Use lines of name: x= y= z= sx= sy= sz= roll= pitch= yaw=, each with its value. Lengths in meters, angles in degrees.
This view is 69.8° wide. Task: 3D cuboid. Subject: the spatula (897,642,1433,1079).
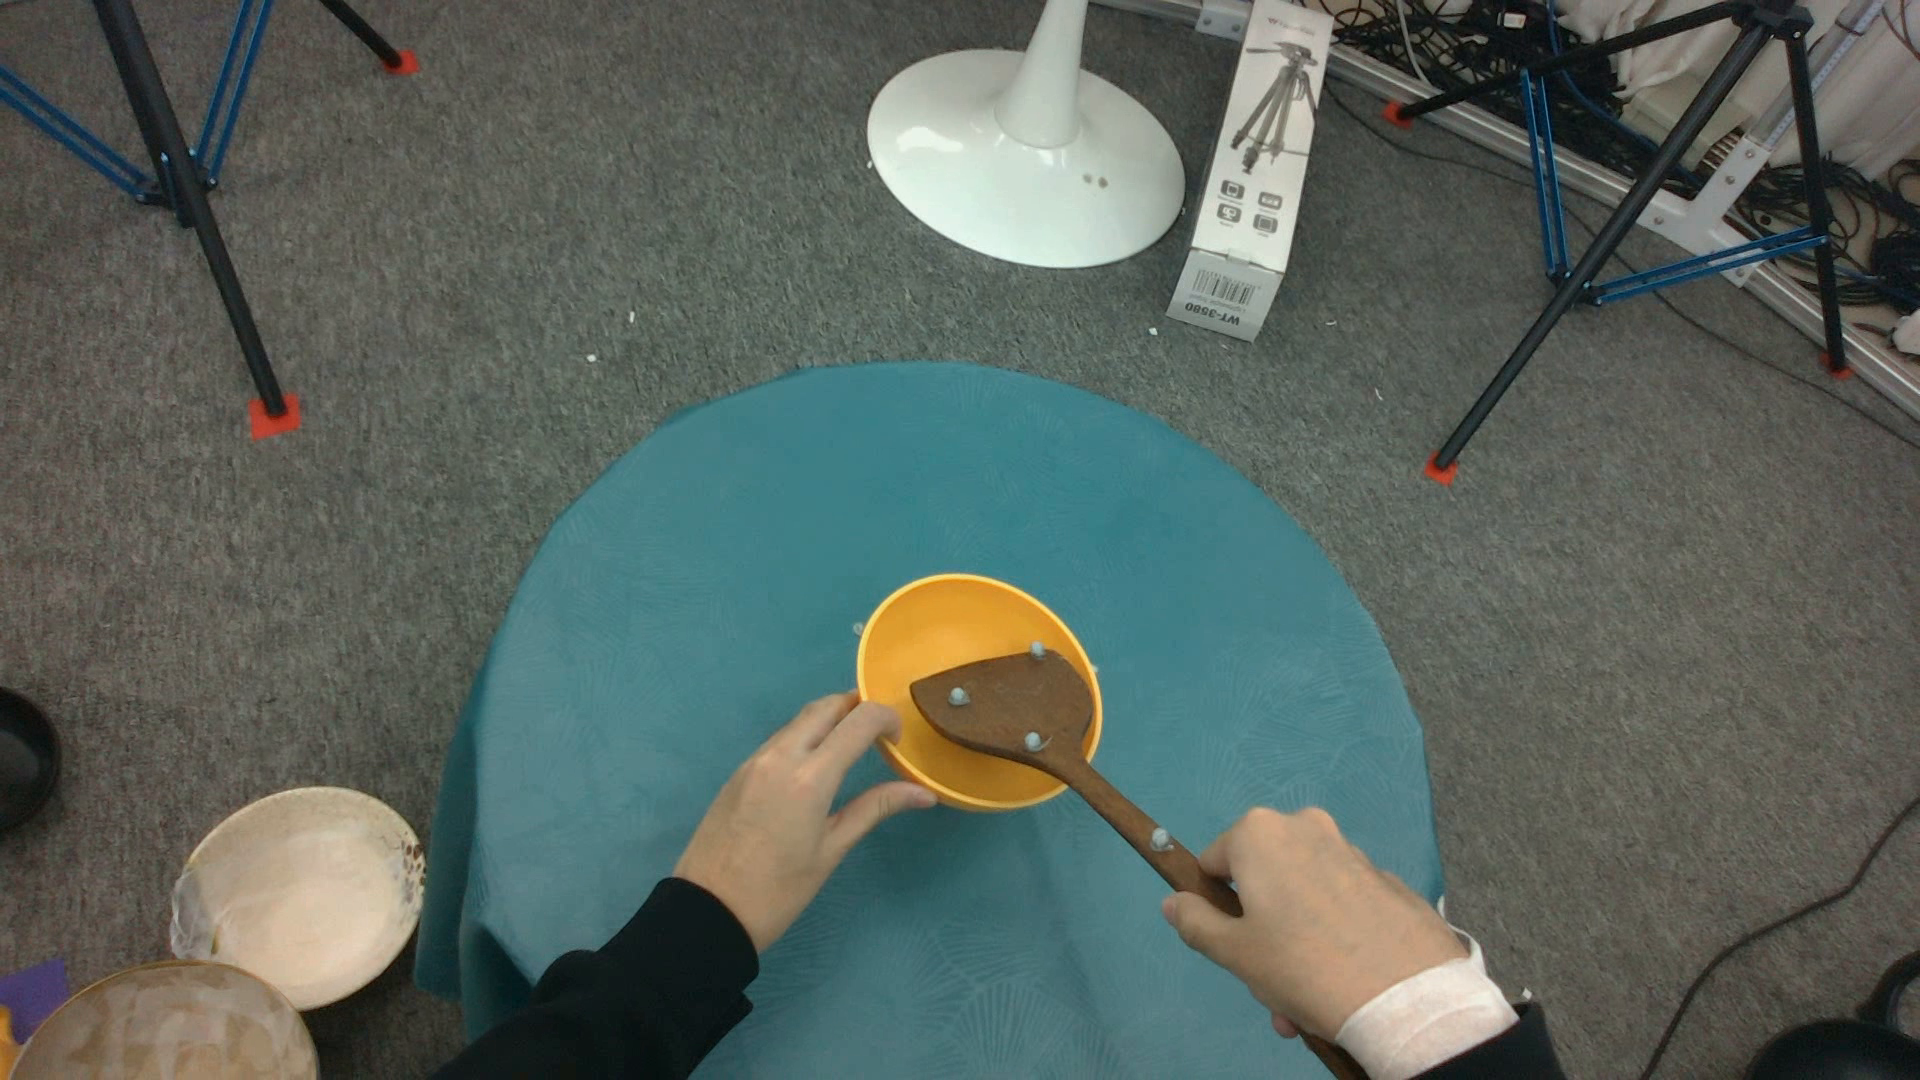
spatula: x=0.077 y=0.127 z=0.621 sx=0.096 sy=0.016 sz=0.386 roll=-11 pitch=22 yaw=-21

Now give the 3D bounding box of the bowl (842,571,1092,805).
bowl: x=-0.003 y=0.092 z=0.779 sx=0.145 sy=0.060 sz=0.146 roll=11 pitch=52 yaw=-14
